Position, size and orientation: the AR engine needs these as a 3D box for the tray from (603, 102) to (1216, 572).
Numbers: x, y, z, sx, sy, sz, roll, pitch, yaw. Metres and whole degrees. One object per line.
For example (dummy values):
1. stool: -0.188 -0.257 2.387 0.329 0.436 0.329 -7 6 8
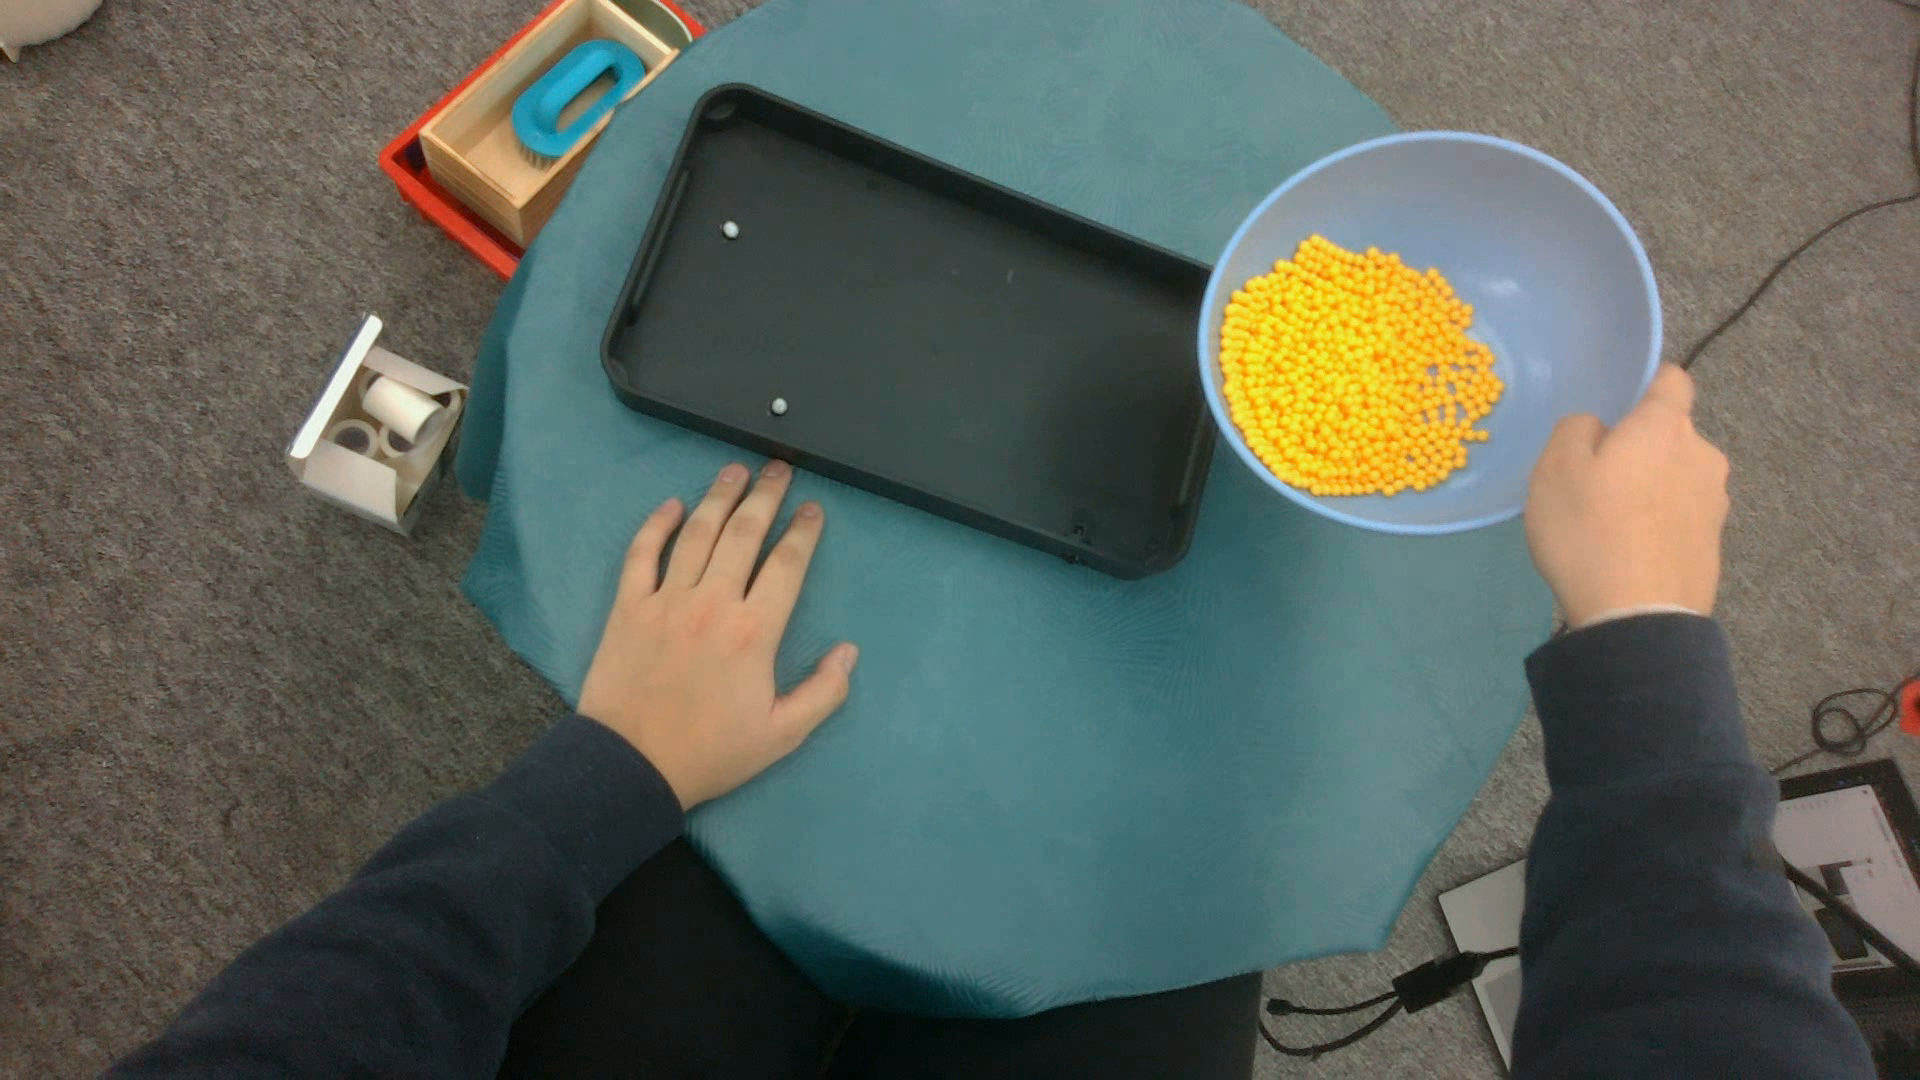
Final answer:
1. tray: -0.015 -0.107 0.748 0.318 0.037 0.185 17 74 -9

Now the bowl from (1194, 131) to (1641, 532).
1. bowl: 0.219 -0.089 0.676 0.196 0.095 0.197 -4 74 15
